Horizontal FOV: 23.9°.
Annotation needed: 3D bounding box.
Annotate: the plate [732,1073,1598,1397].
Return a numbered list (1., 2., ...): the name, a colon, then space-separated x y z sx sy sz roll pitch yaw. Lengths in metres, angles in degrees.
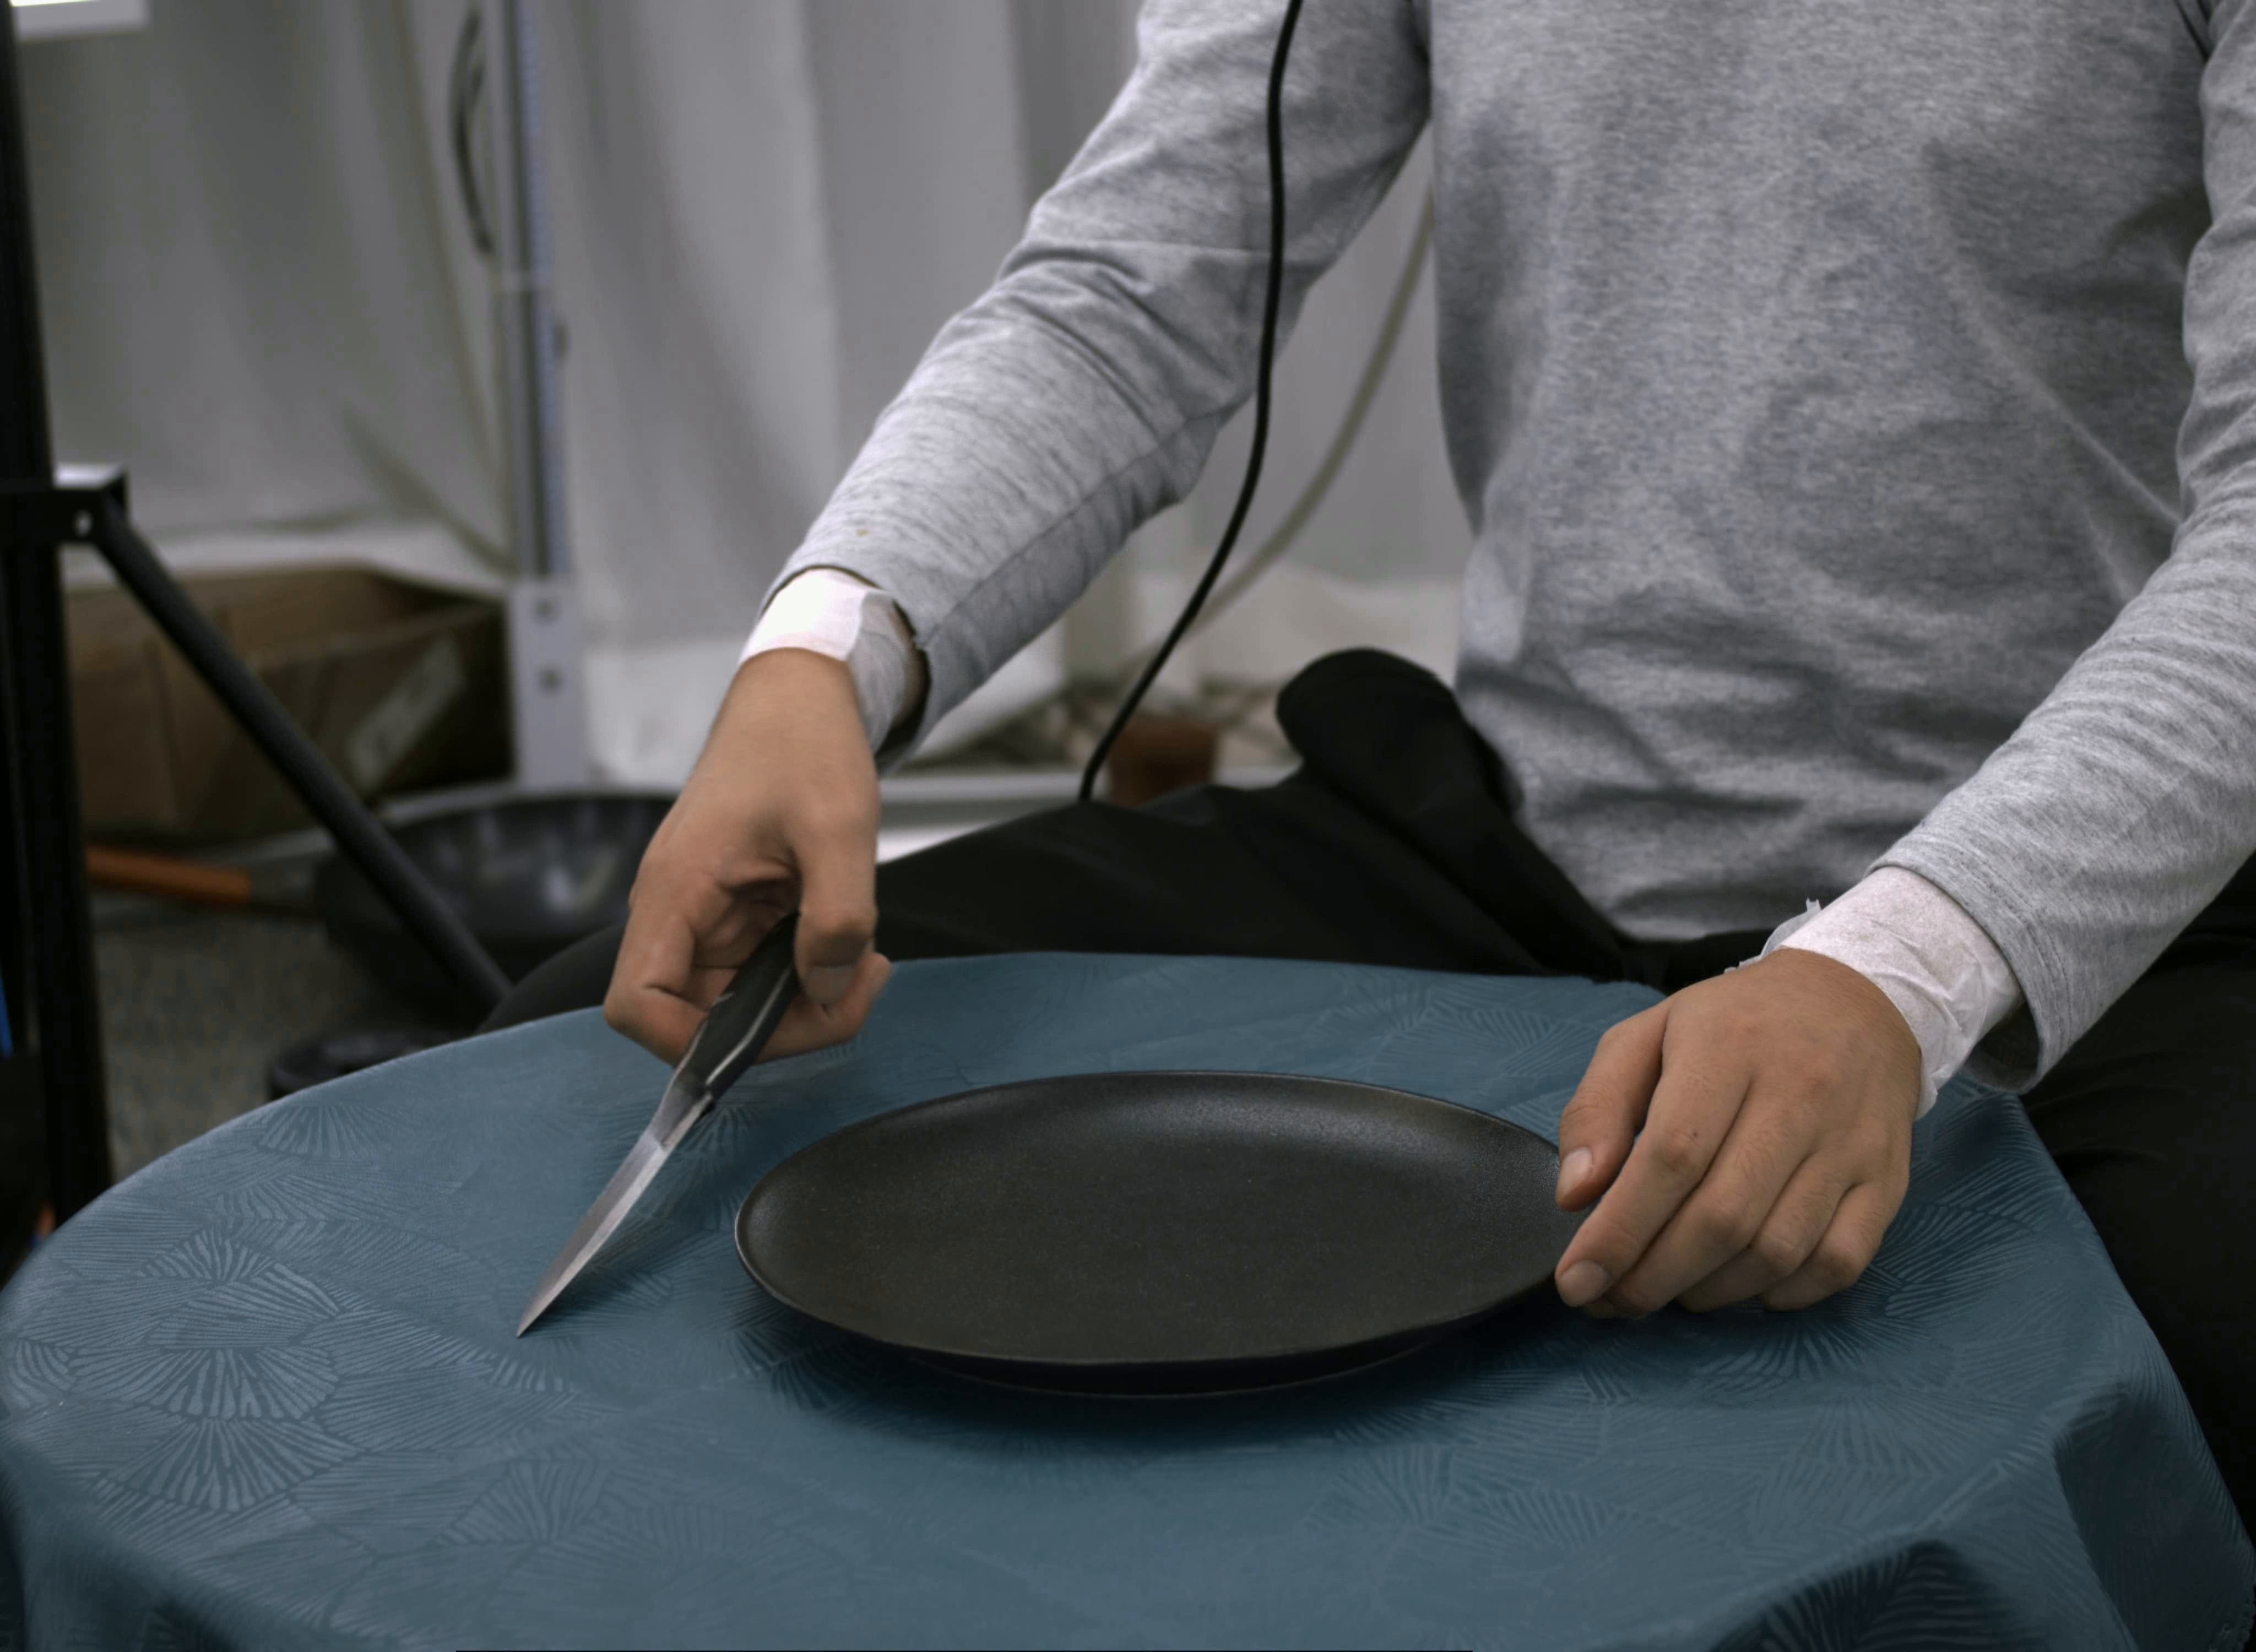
1. plate: 0.011 0.117 1.488 0.243 0.023 0.245 -3 16 -1

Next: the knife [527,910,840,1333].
1. knife: -0.133 0.086 1.570 0.025 0.016 0.237 -20 20 27
